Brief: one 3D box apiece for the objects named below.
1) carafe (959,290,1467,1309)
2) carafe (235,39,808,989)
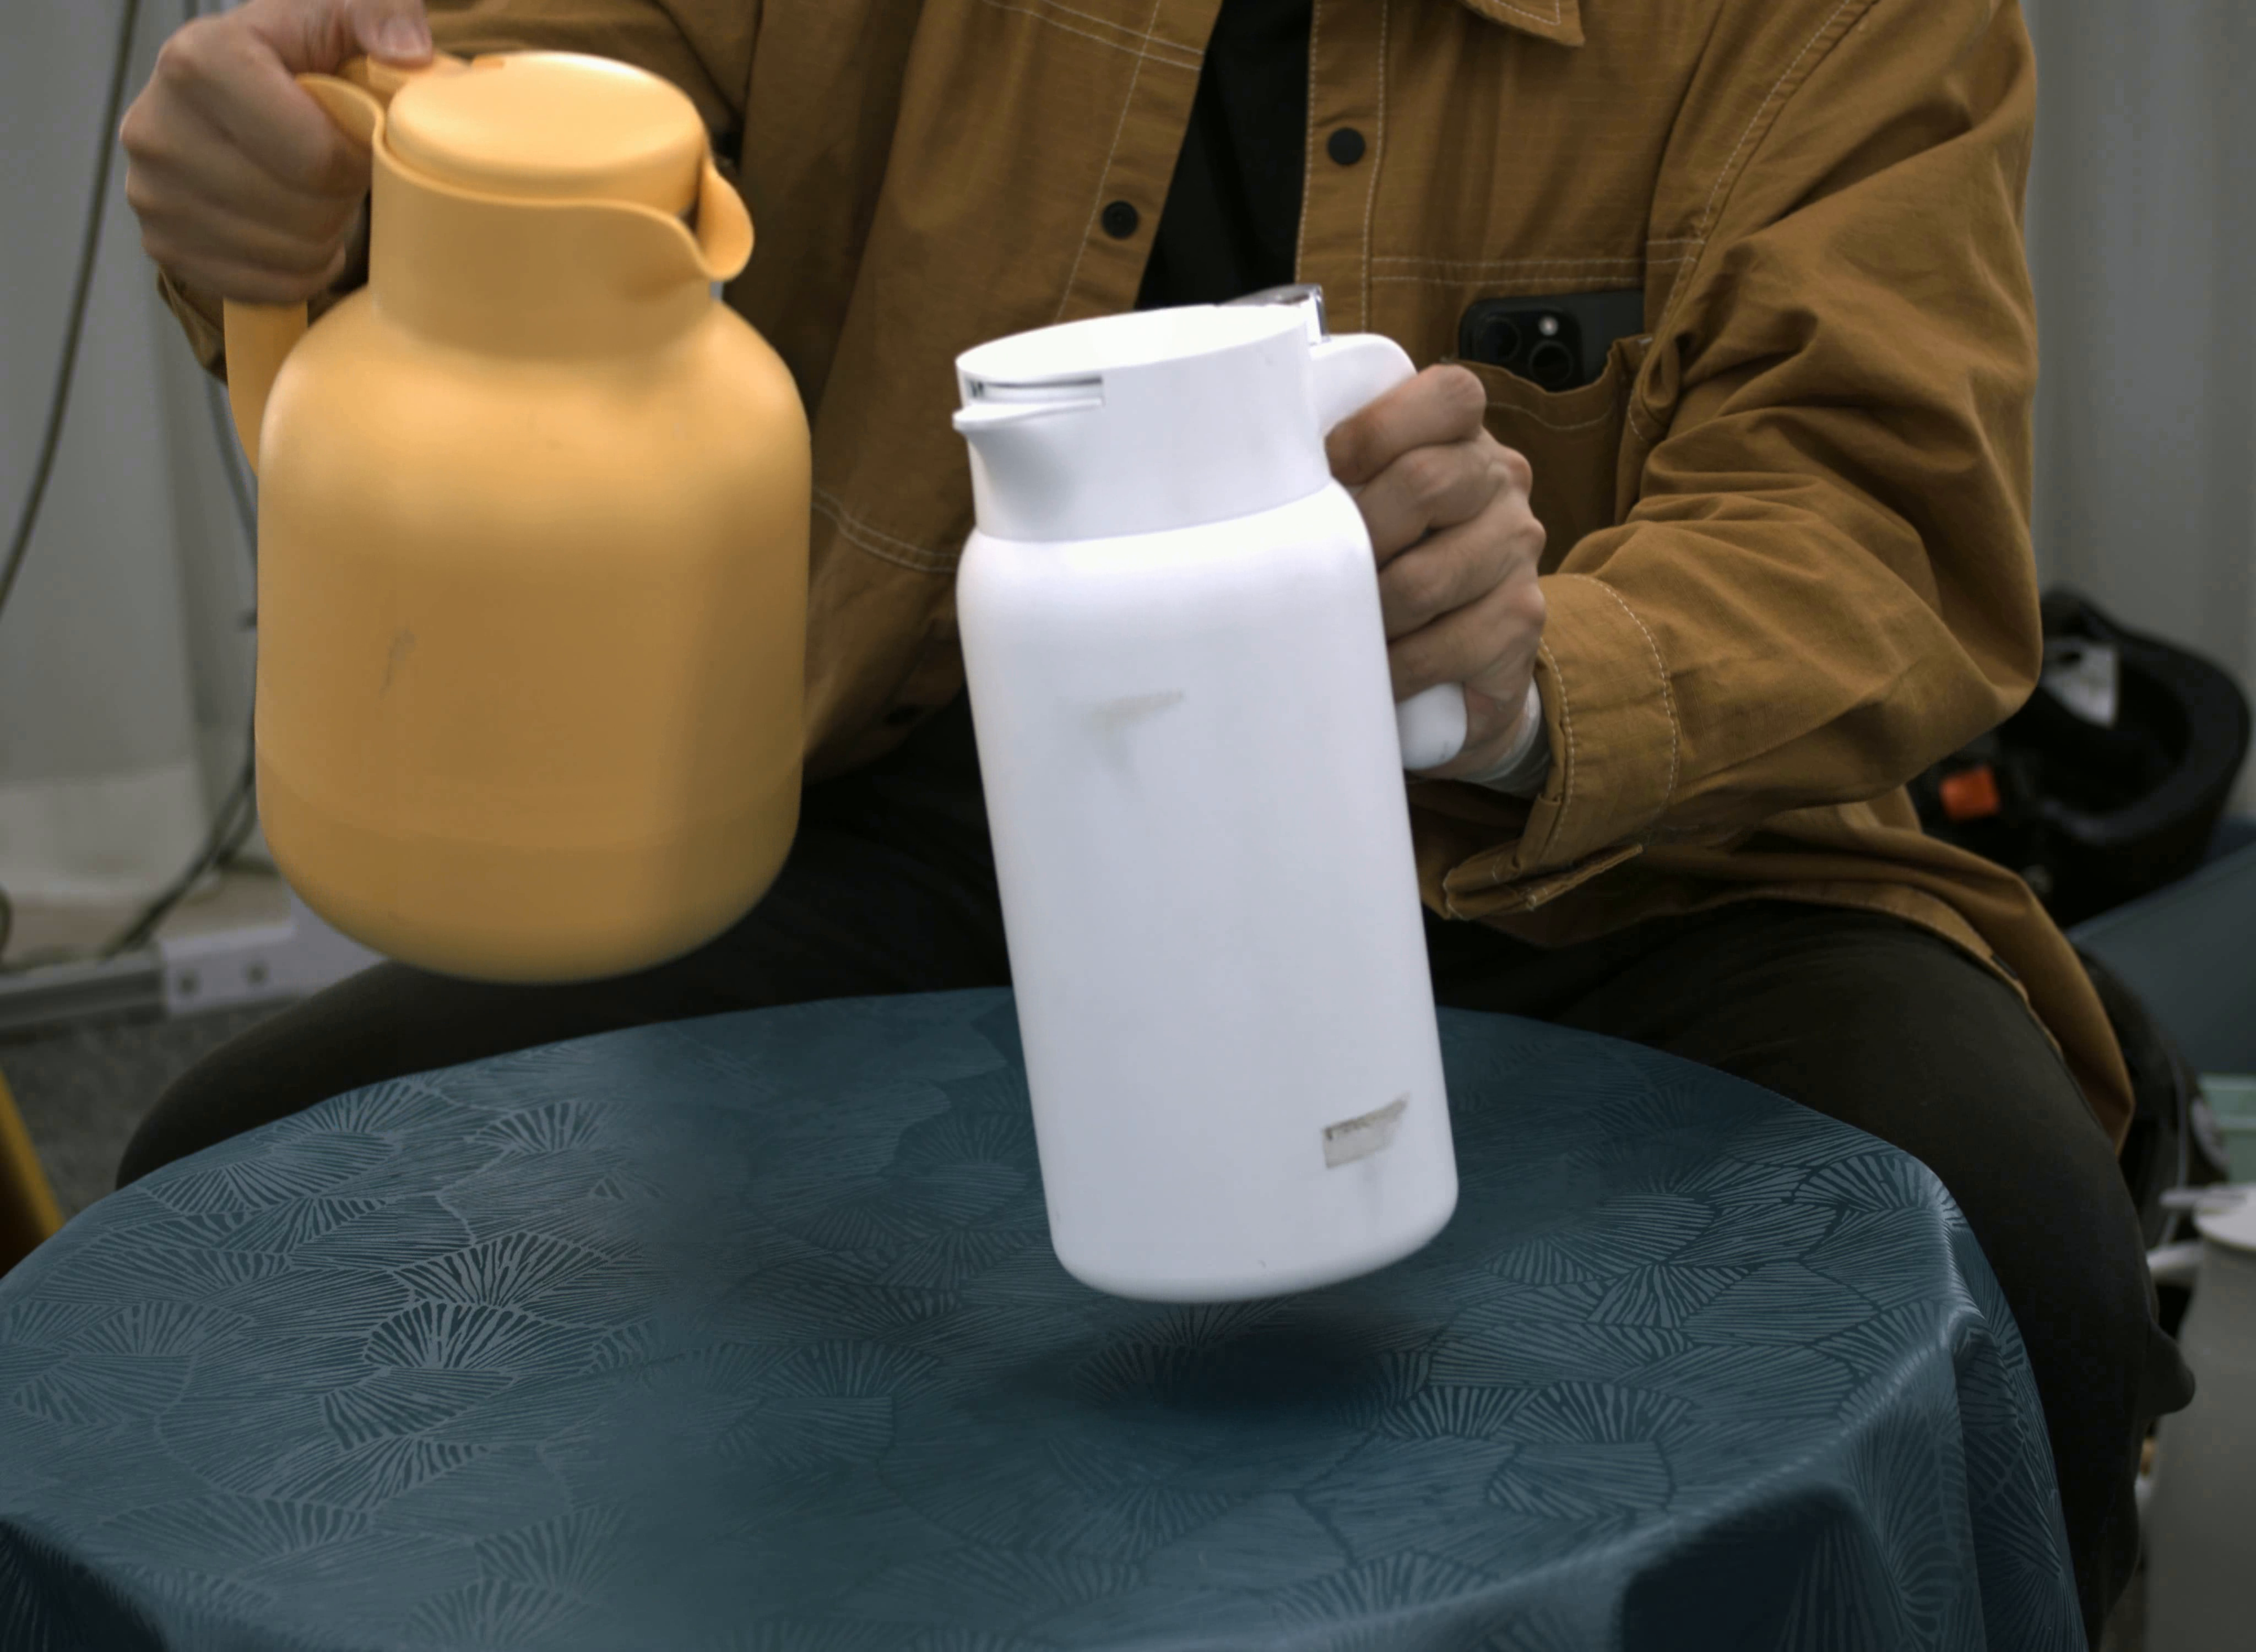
[{"bbox_3d":[0.030,-0.012,1.541,0.124,0.268,0.172,0,14,43],"label":"carafe"},{"bbox_3d":[-0.187,-0.101,1.611,0.204,0.258,0.163,28,32,35],"label":"carafe"}]
